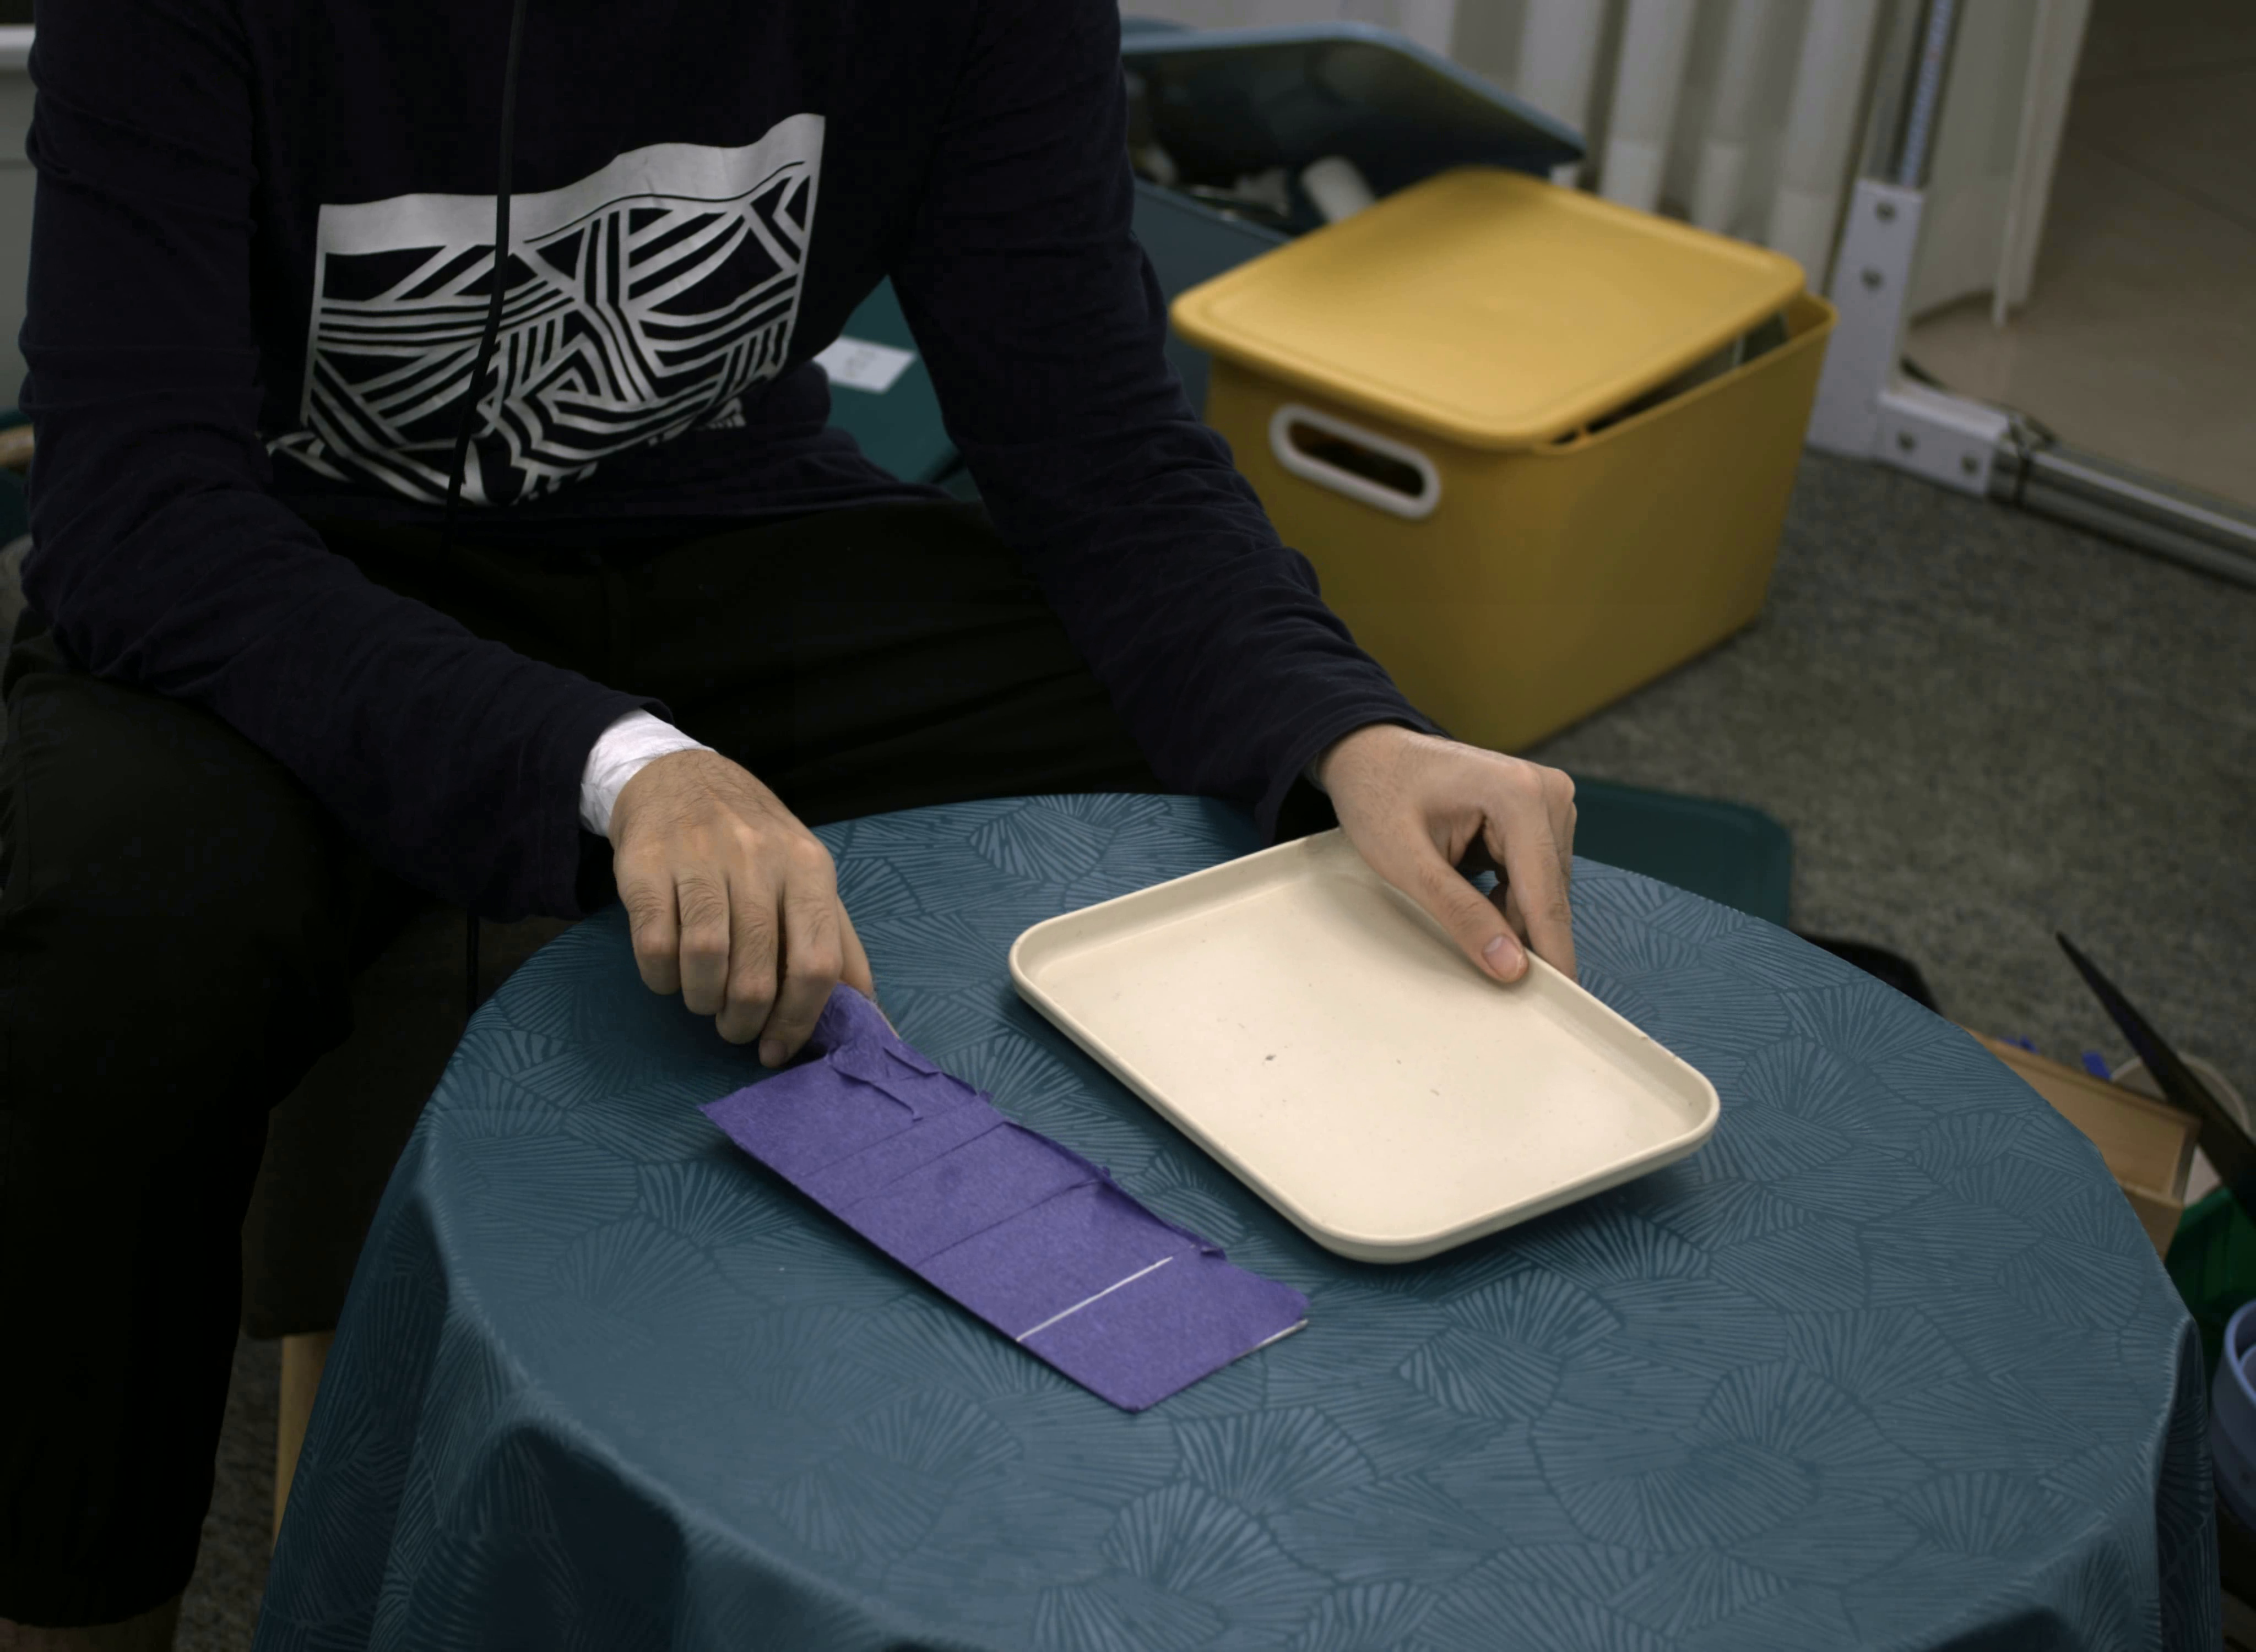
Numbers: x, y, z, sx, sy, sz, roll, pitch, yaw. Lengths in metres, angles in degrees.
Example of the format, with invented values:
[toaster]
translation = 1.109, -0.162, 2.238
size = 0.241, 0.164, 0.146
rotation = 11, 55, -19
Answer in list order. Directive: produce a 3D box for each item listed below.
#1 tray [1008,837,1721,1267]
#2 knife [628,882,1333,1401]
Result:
[tray]
translation = 0.081, 0.078, 1.879
size = 0.170, 0.017, 0.242
rotation = -18, 35, -28
[knife]
translation = -0.077, 0.103, 1.796
size = 0.317, 0.032, 0.103
rotation = 29, 34, 35
